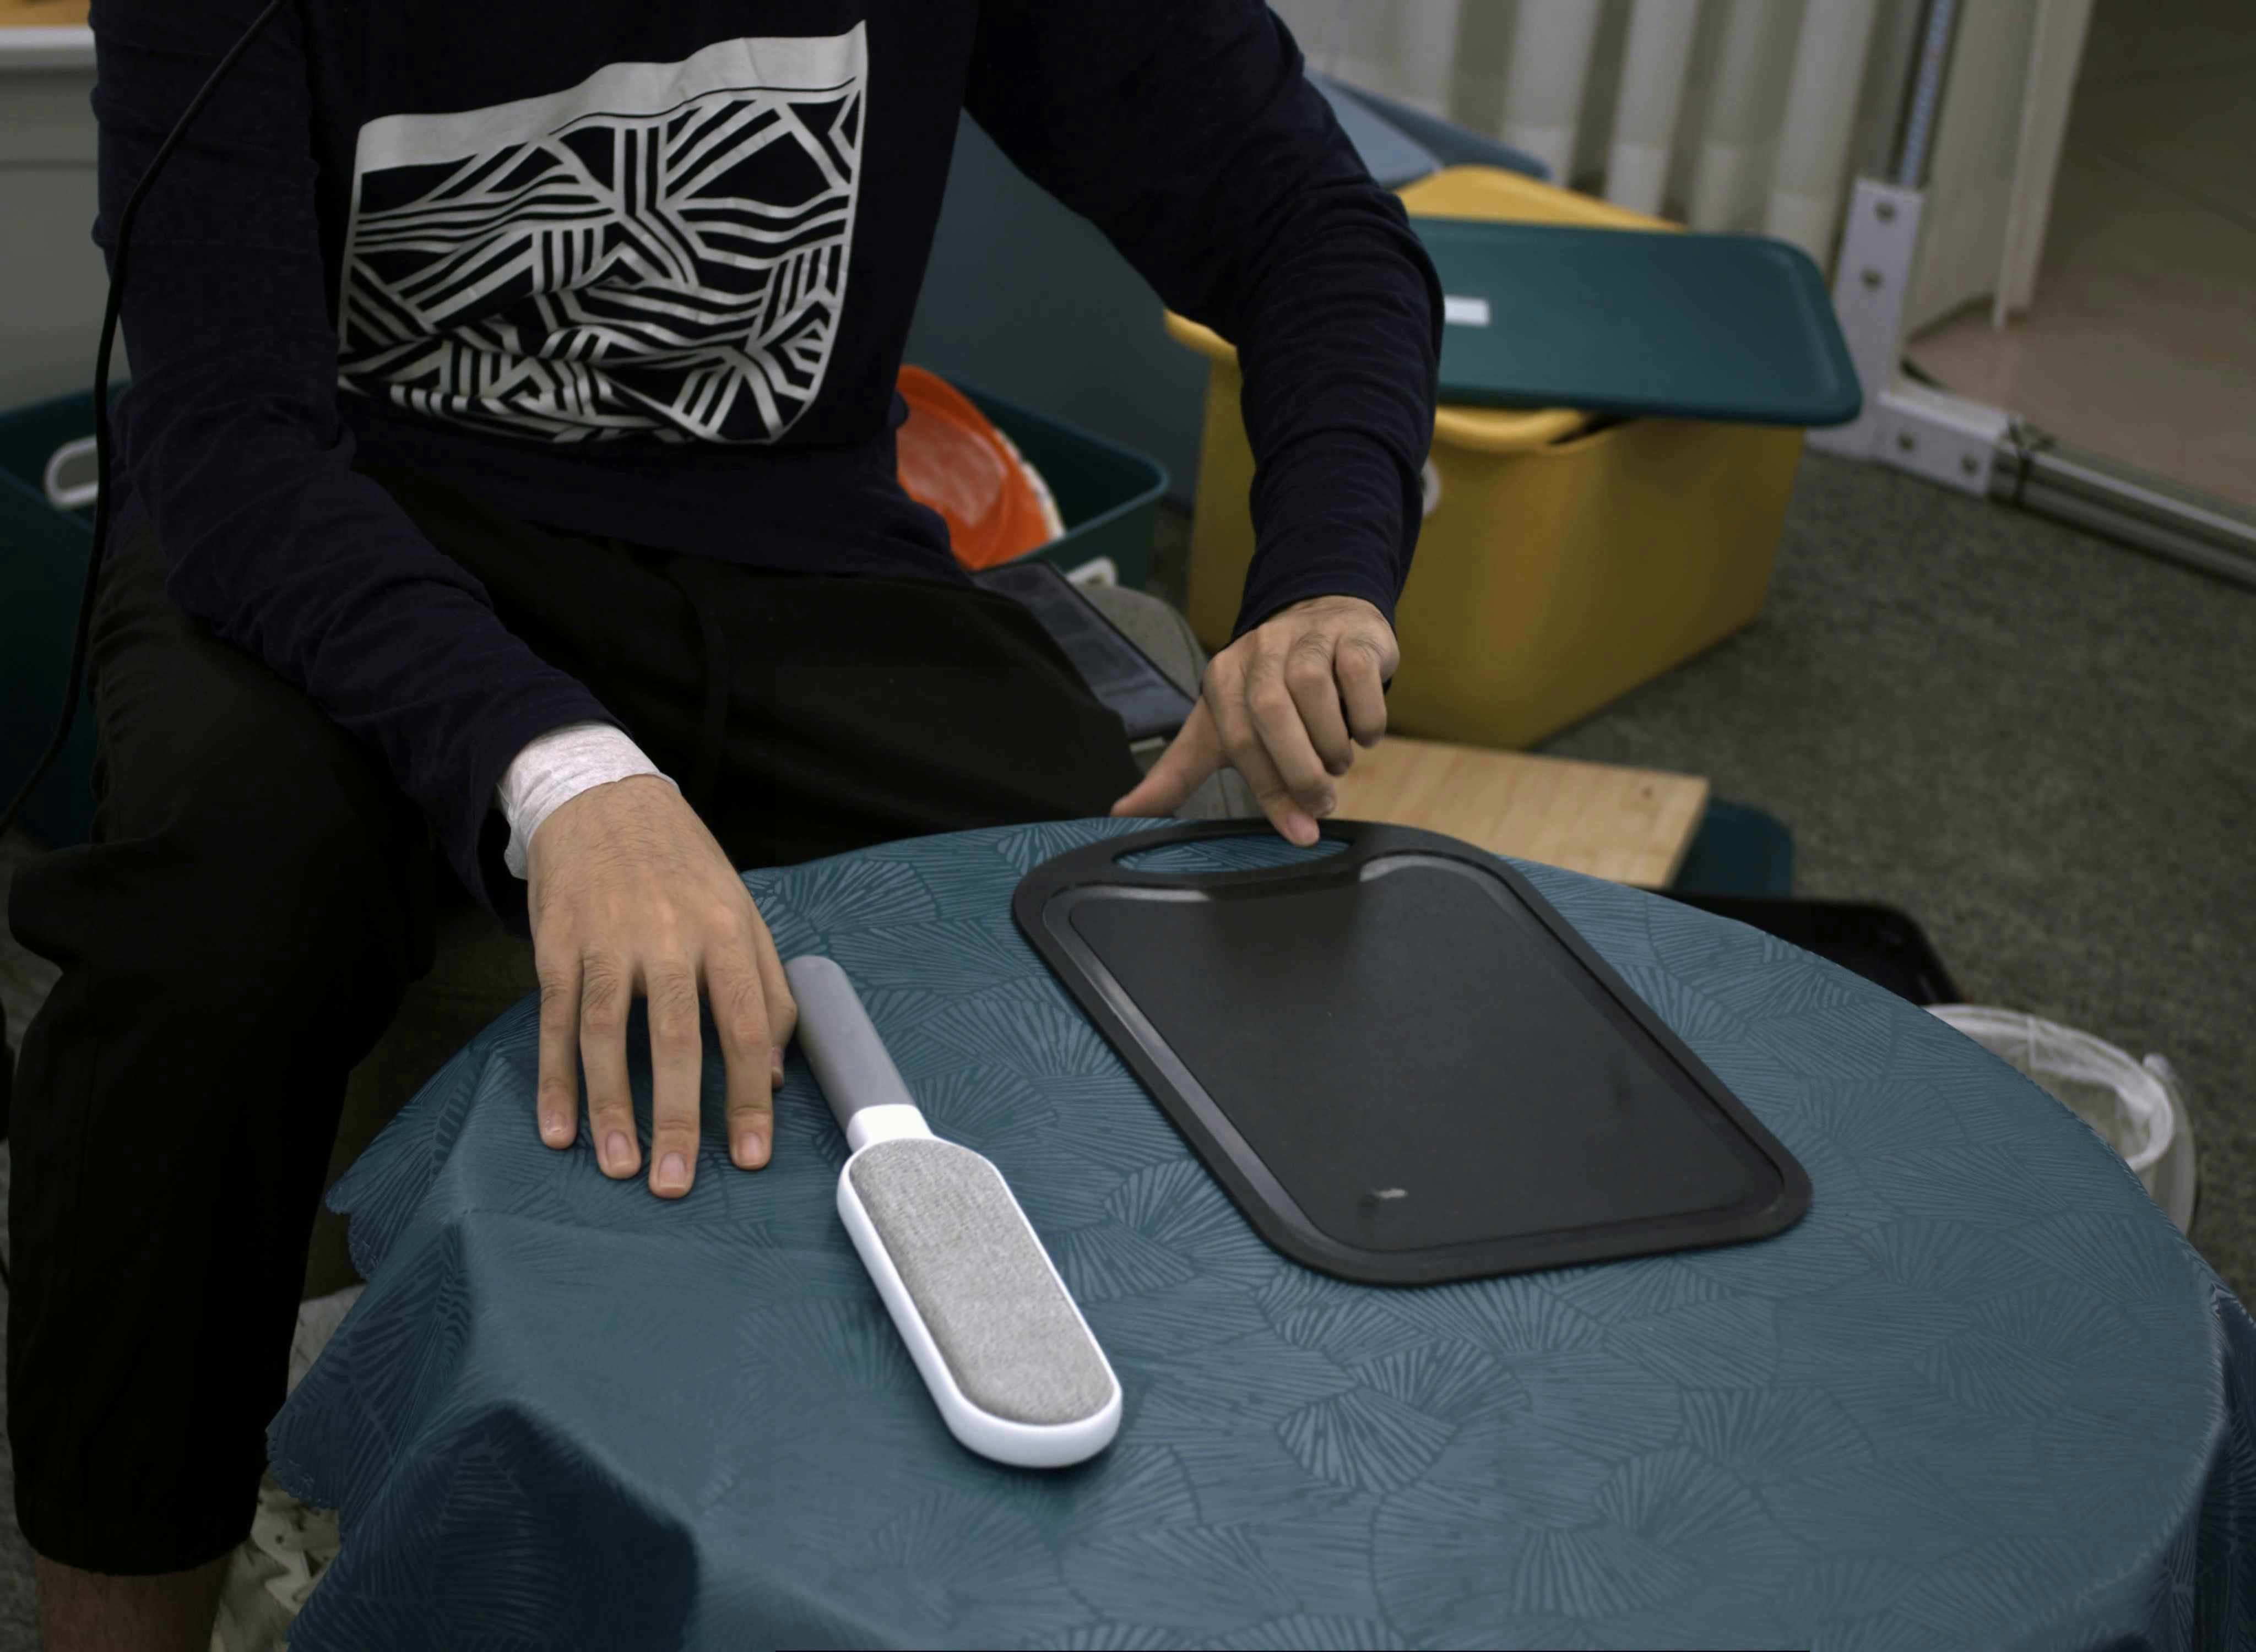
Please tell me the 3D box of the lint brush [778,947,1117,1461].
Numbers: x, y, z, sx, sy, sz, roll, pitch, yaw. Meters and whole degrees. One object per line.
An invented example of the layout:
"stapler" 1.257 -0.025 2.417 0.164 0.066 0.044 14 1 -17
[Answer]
"lint brush" -0.068 0.120 1.768 0.060 0.021 0.311 -8 30 -16

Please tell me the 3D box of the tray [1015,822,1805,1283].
"tray" 0.092 0.073 1.921 0.210 0.010 0.328 -5 29 -22
